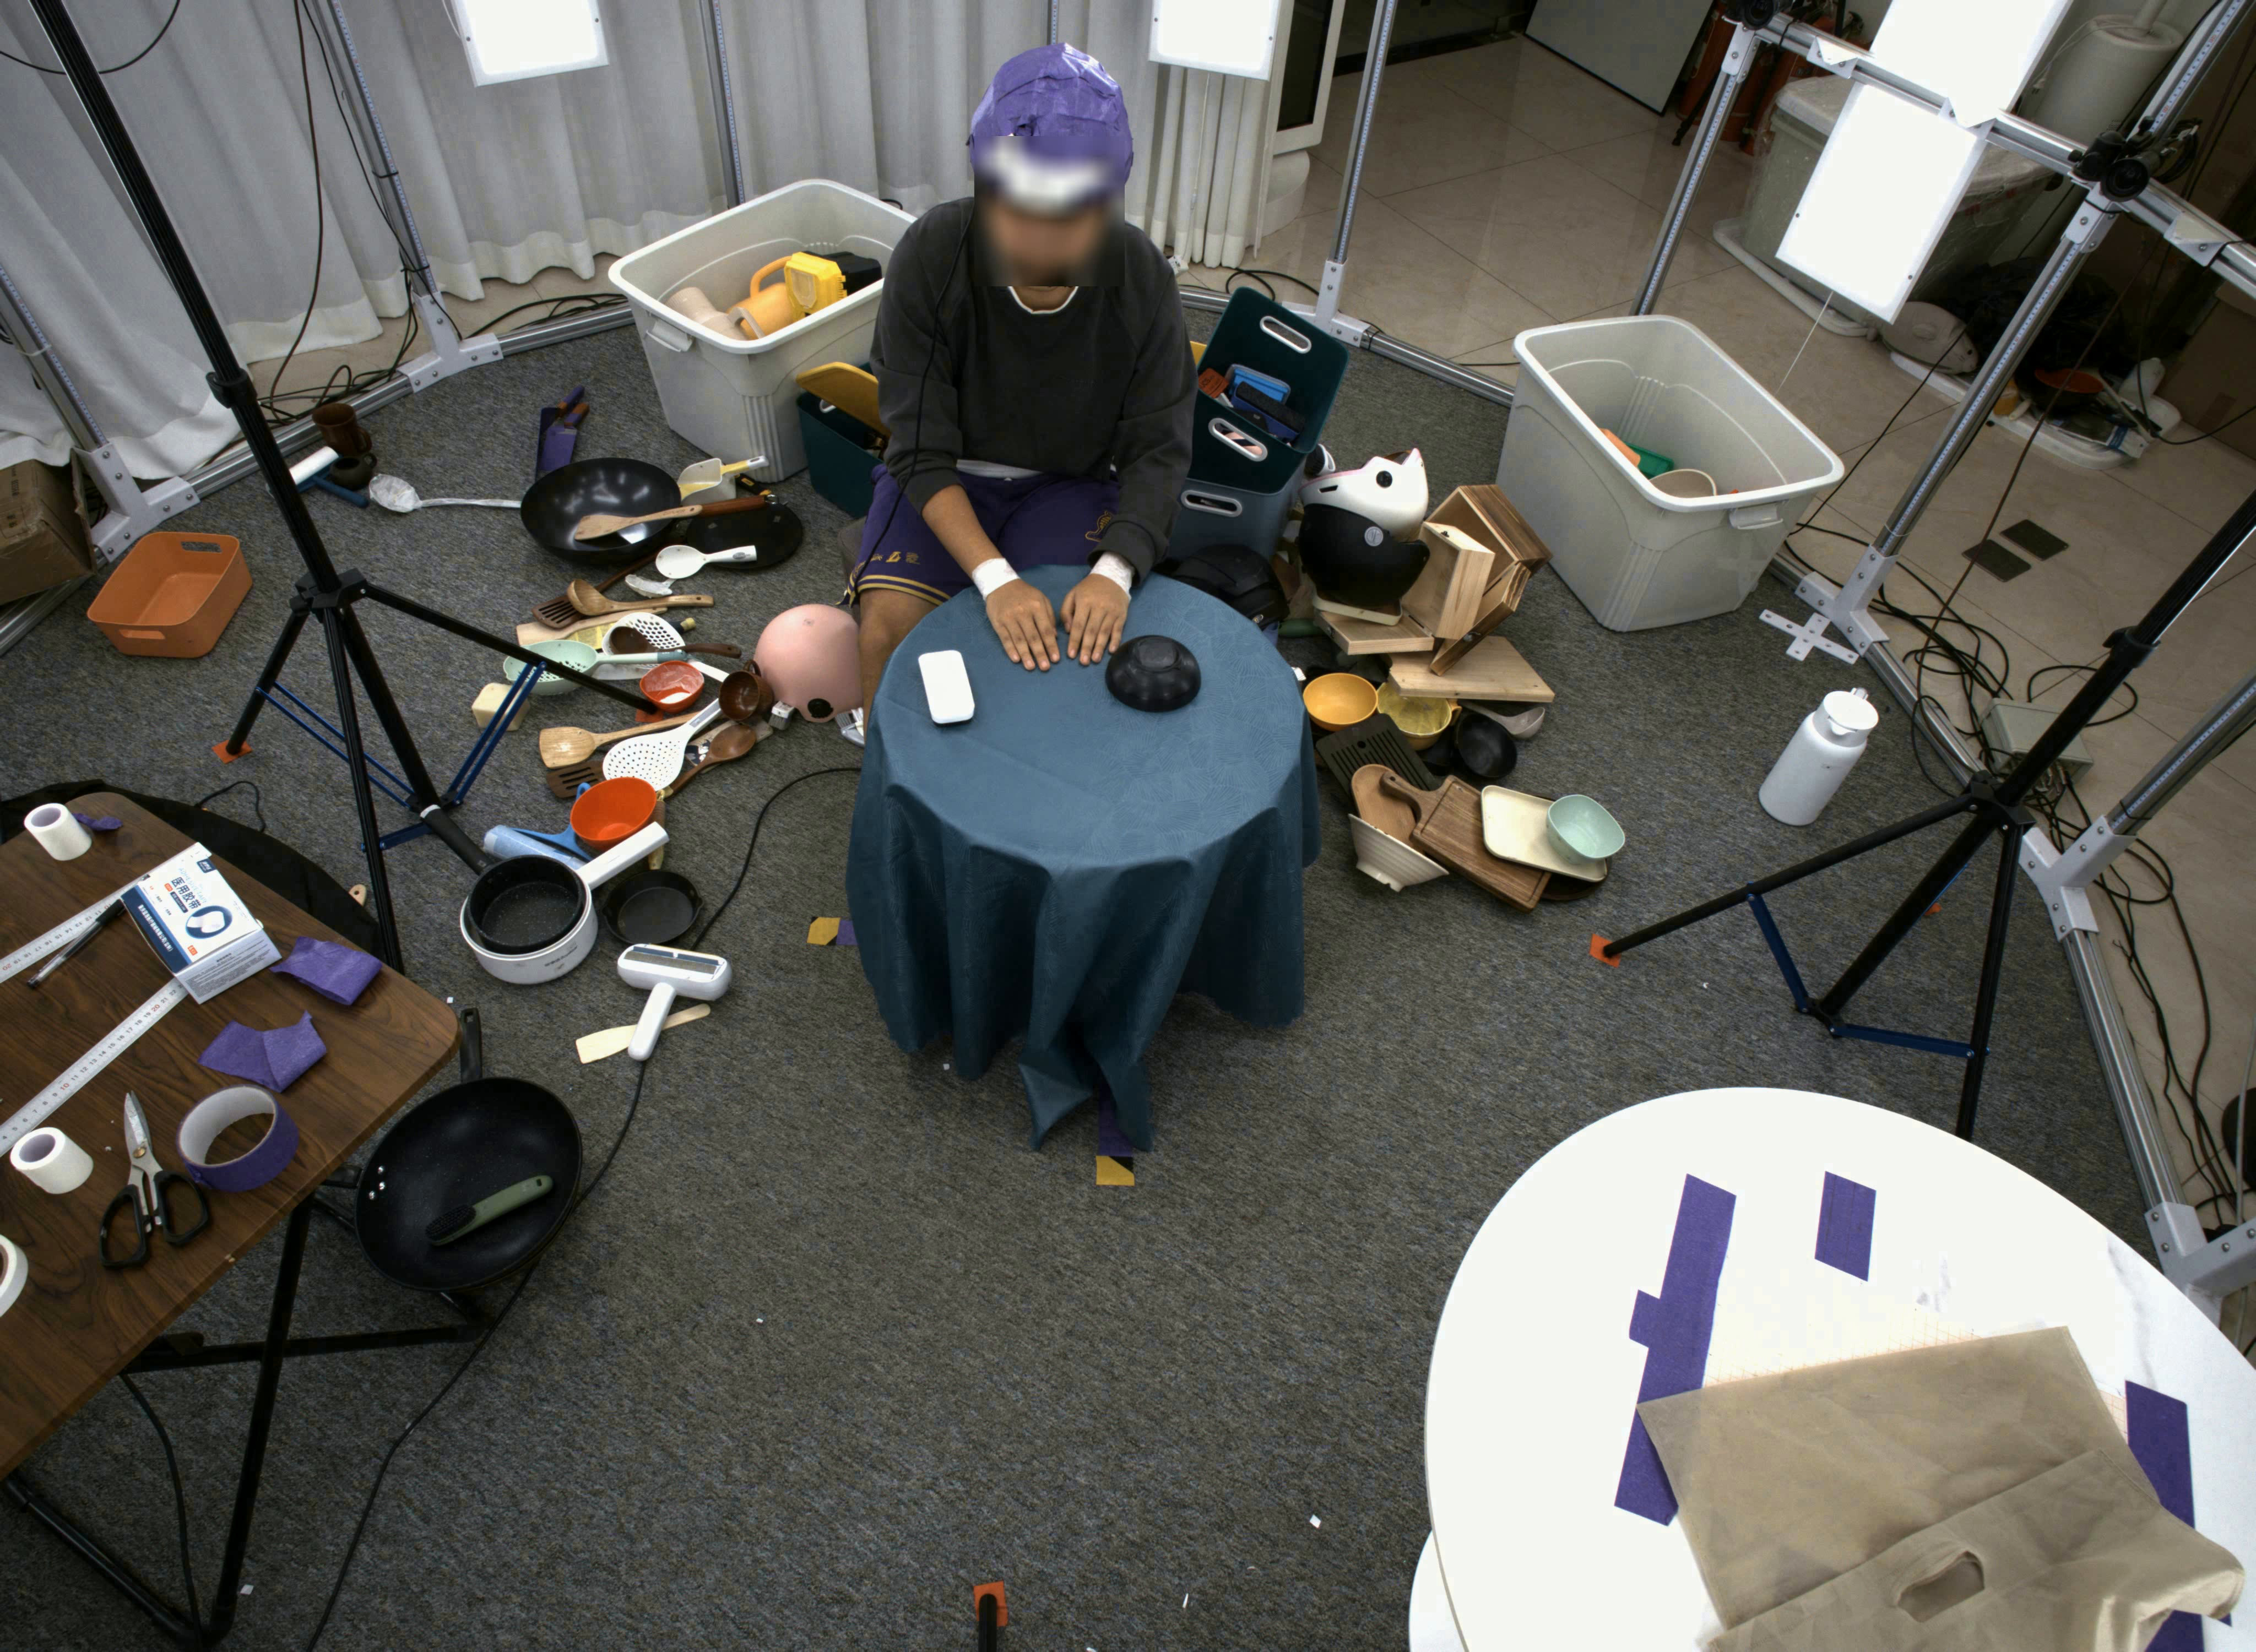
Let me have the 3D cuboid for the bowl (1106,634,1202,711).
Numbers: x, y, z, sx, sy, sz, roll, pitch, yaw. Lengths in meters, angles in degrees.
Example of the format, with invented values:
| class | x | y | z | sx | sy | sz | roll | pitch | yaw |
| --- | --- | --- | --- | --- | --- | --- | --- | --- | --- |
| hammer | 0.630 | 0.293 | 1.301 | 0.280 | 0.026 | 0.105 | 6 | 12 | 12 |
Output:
| class | x | y | z | sx | sy | sz | roll | pitch | yaw |
| --- | --- | --- | --- | --- | --- | --- | --- | --- | --- |
| bowl | 0.038 | -0.231 | 1.836 | 0.140 | 0.048 | 0.143 | 1 | 50 | -2 |

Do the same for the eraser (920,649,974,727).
| class | x | y | z | sx | sy | sz | roll | pitch | yaw |
| --- | --- | --- | --- | --- | --- | --- | --- | --- | --- |
| eraser | -0.252 | -0.196 | 1.799 | 0.063 | 0.034 | 0.134 | -7 | 51 | -11 |
